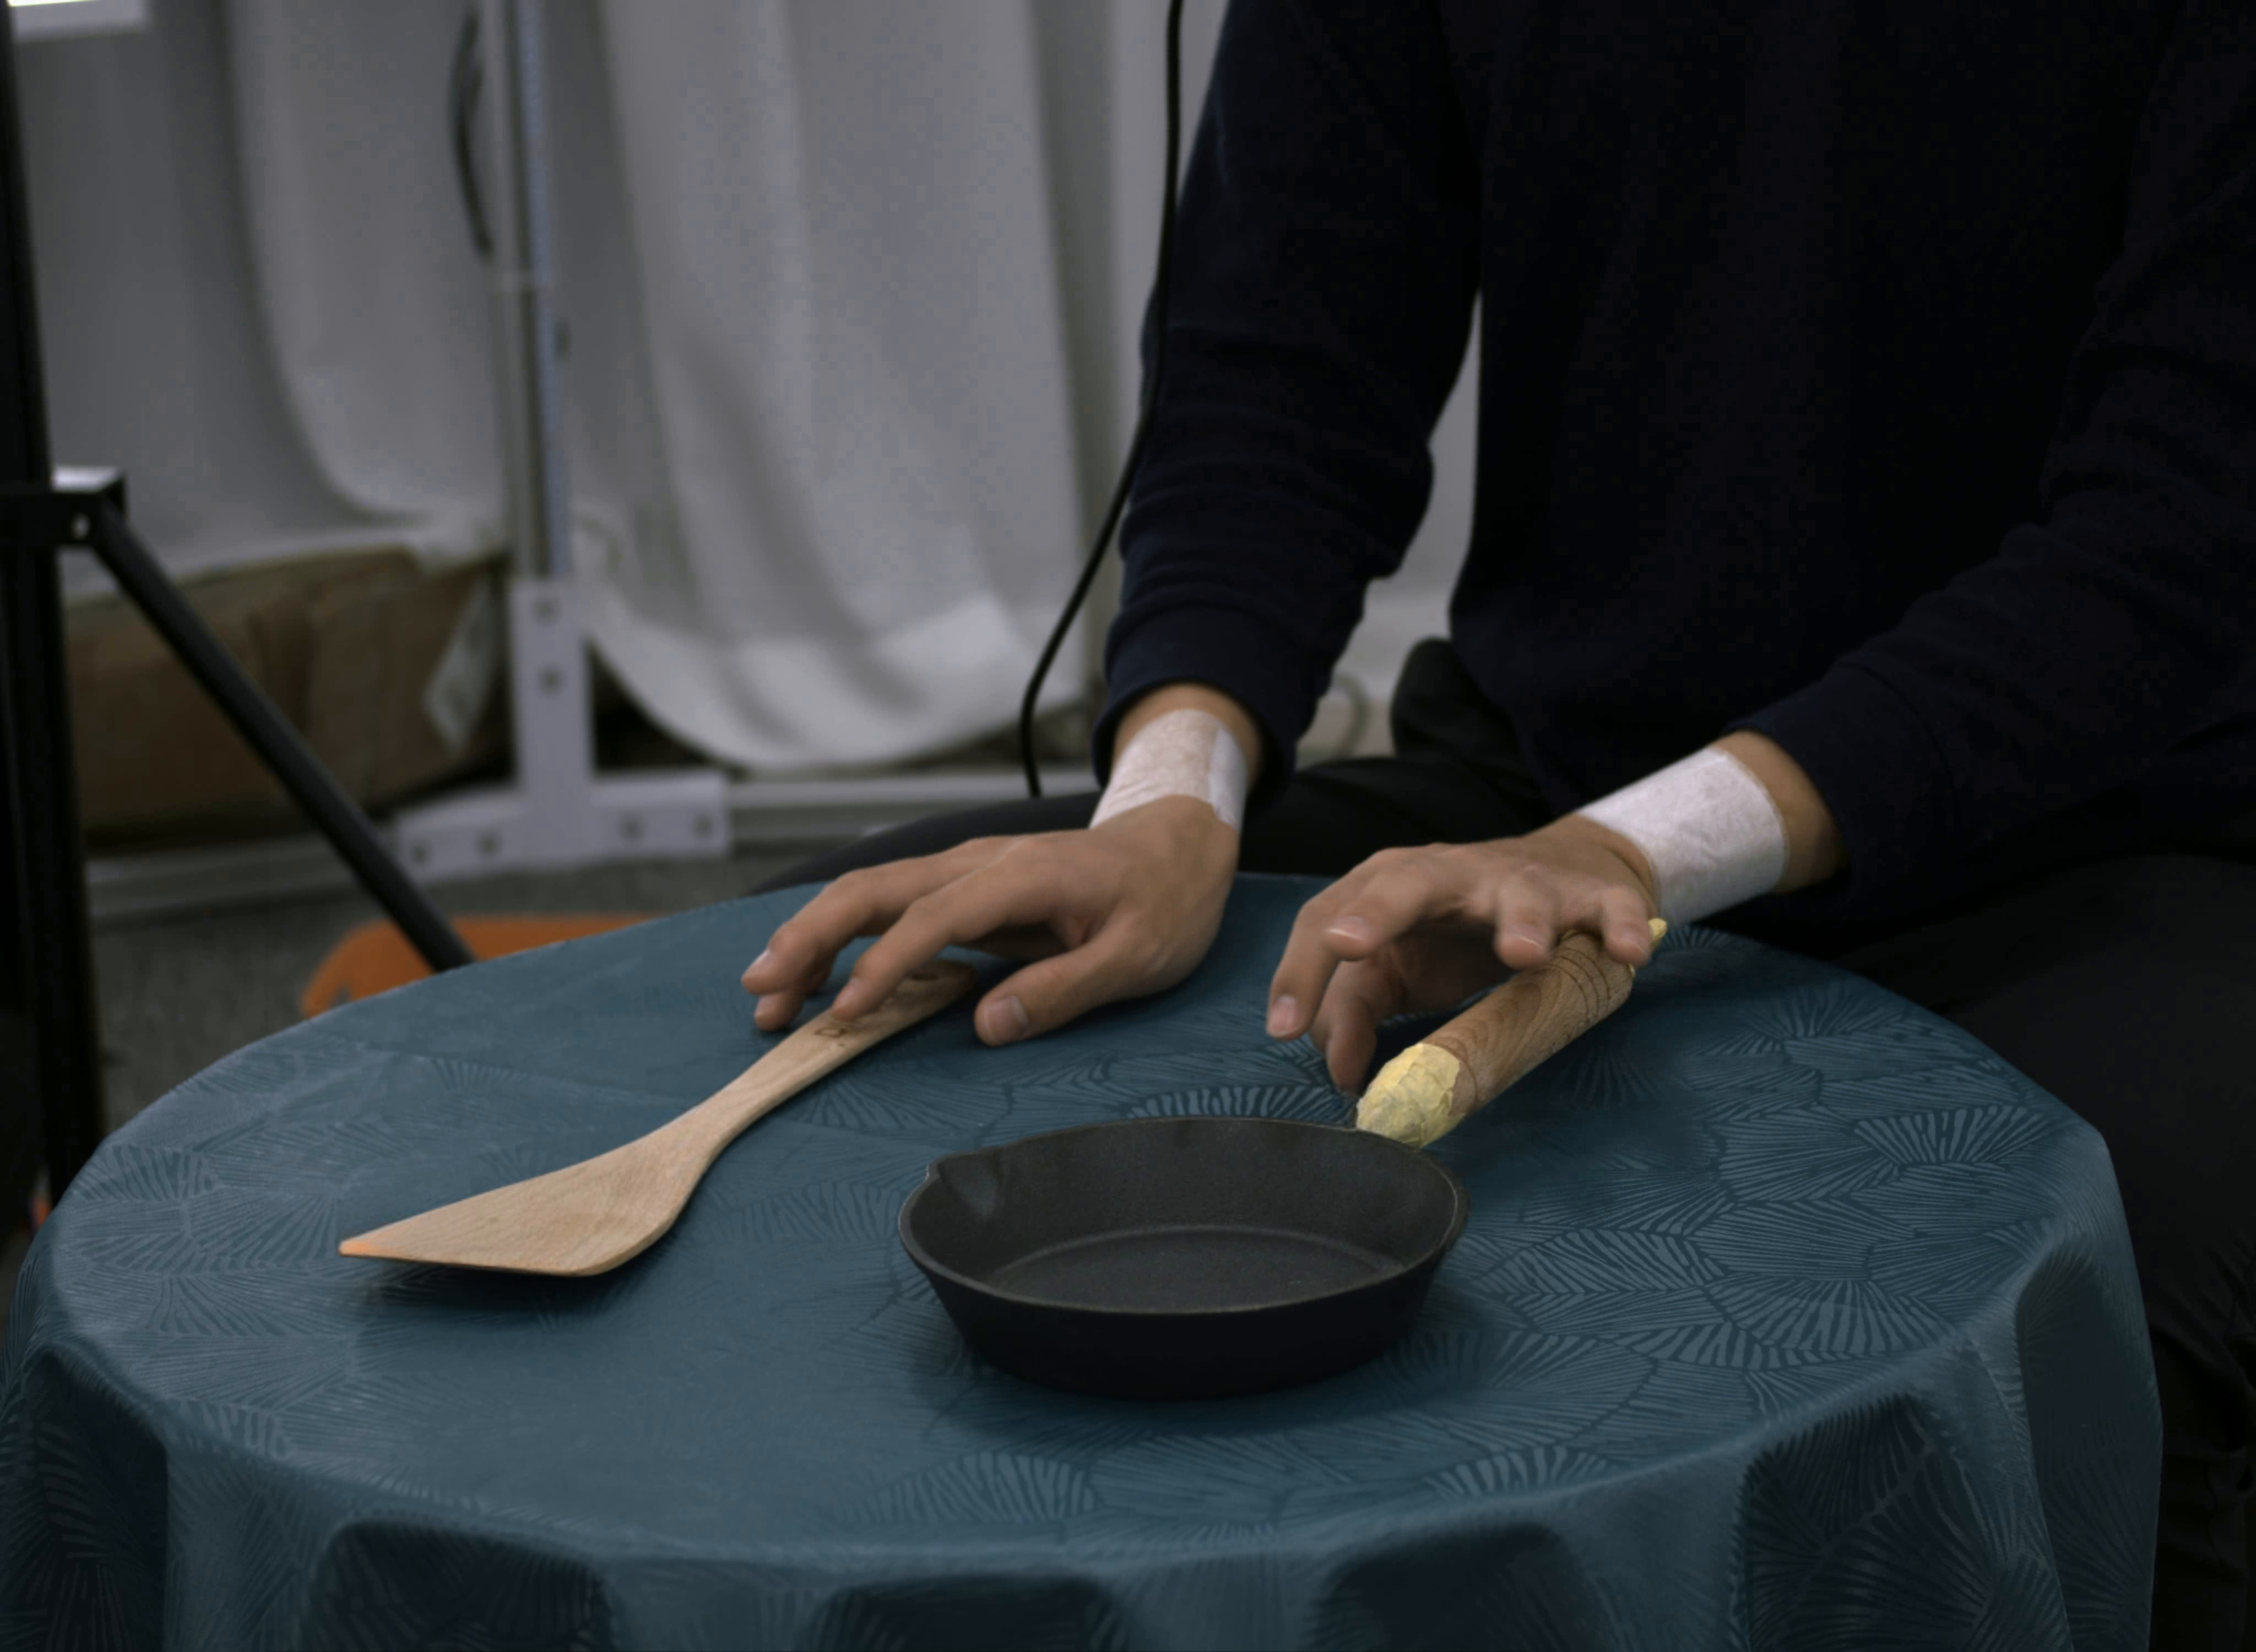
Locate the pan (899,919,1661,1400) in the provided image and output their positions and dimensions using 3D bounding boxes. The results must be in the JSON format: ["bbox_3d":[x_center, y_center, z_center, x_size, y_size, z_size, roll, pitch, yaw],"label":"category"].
[{"bbox_3d":[0.066,0.091,1.513,0.172,0.049,0.317,9,21,37],"label":"pan"}]

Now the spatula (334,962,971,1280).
[{"bbox_3d":[-0.125,0.087,1.625,0.081,0.016,0.323,6,18,24],"label":"spatula"}]
